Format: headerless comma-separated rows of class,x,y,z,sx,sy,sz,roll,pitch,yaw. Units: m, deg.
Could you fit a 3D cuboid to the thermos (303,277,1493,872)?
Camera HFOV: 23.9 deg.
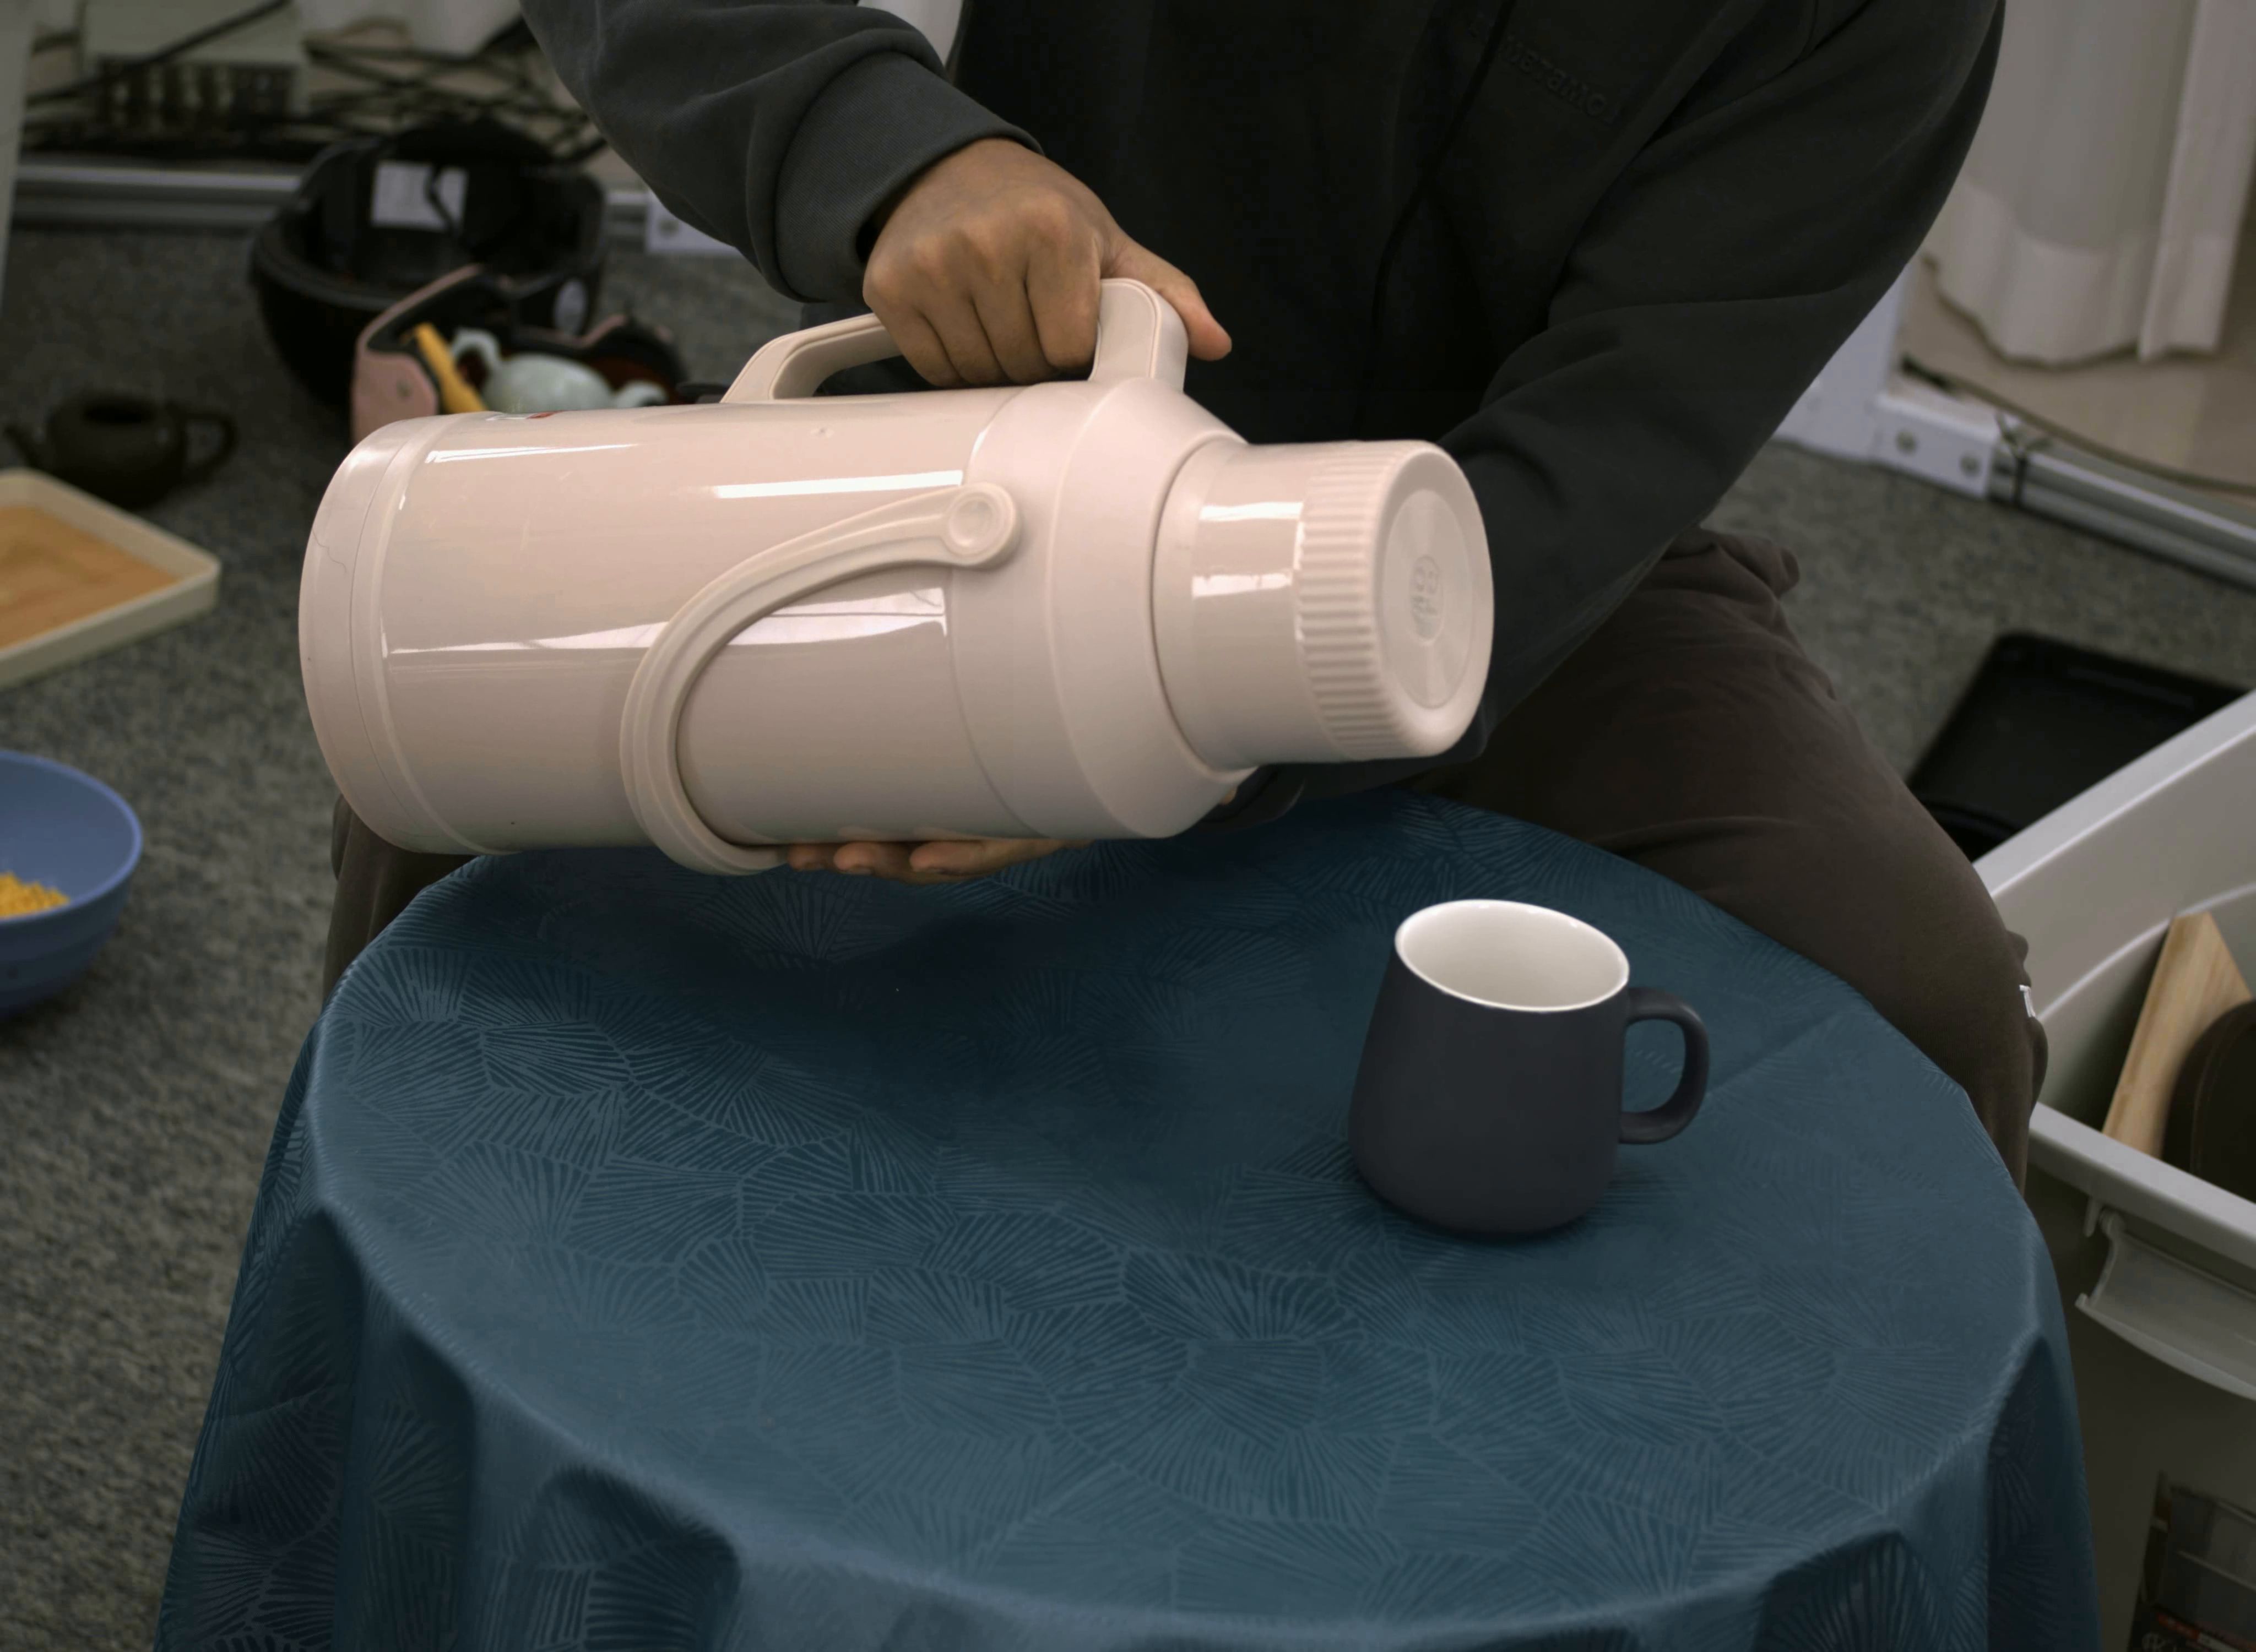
thermos,-0.077,-0.086,1.847,0.407,0.208,0.174,-1,-18,28

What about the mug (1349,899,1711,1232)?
mug,0.140,0.083,1.820,0.122,0.089,0.094,2,27,-10
